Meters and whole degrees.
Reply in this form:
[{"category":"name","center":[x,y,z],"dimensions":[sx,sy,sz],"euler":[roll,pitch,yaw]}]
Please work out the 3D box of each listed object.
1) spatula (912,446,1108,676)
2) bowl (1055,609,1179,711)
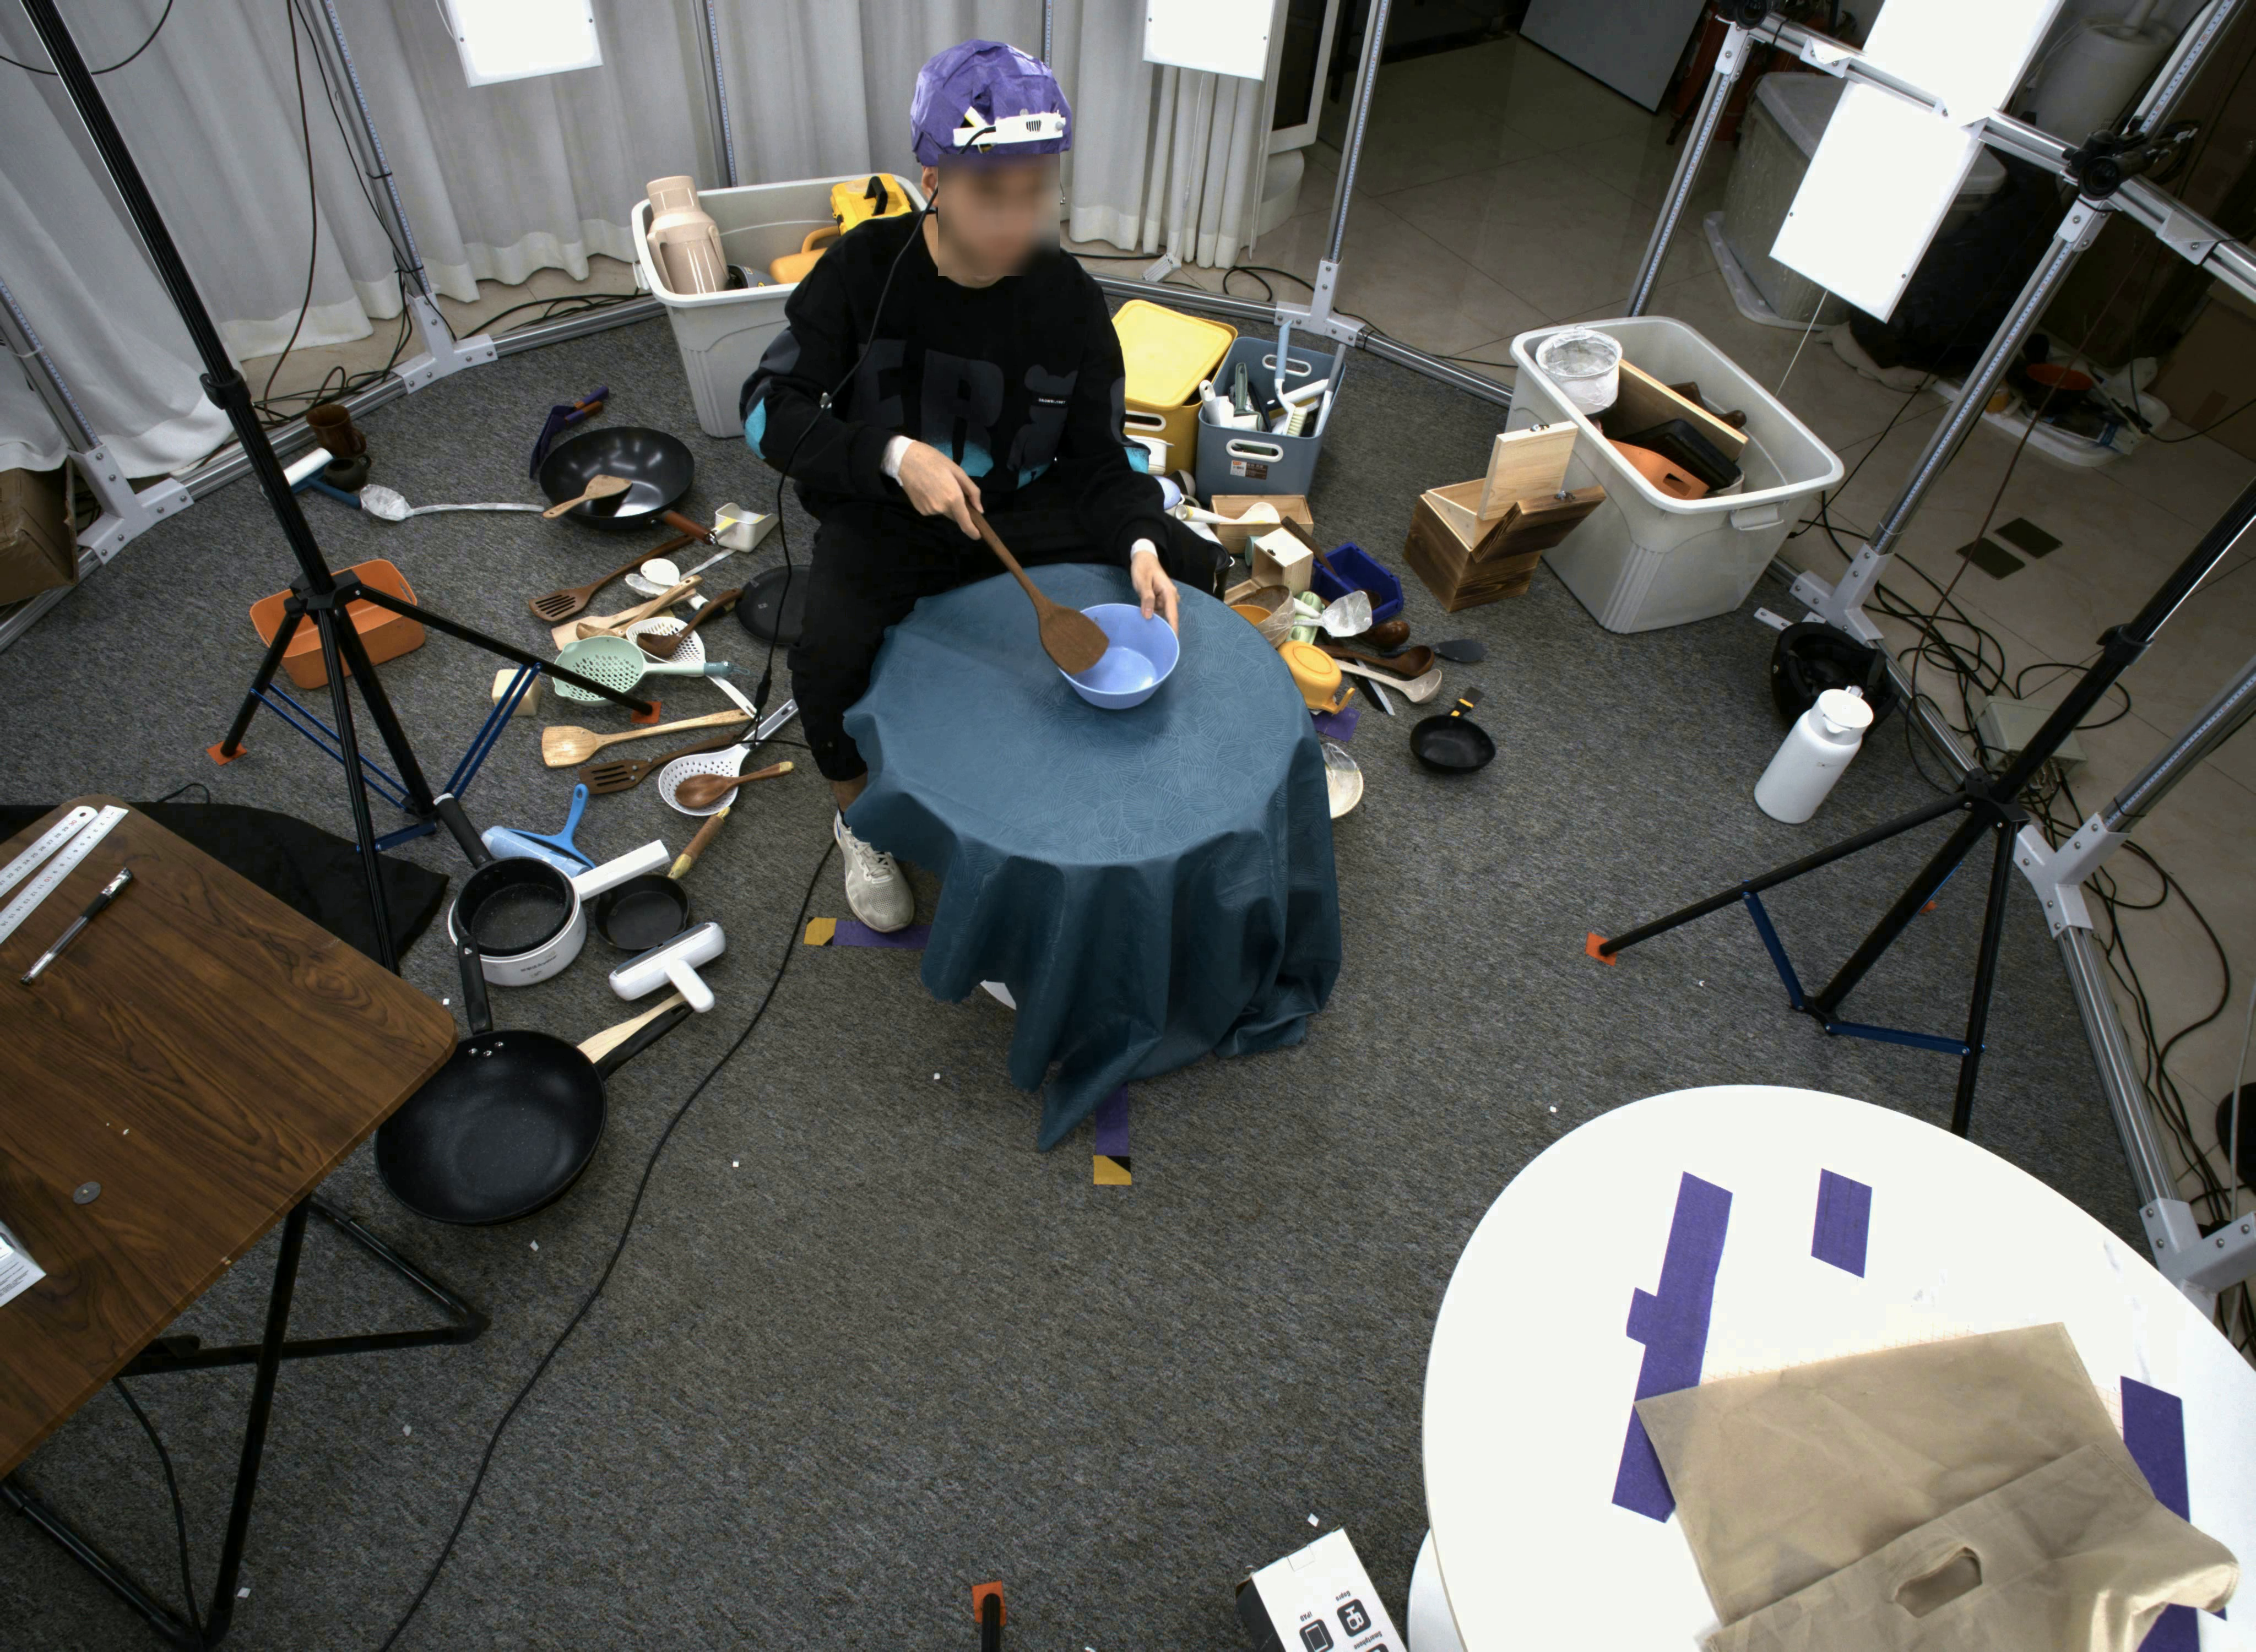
[{"category":"spatula","center":[-0.170,-0.373,1.793],"dimensions":[0.384,0.015,0.097],"euler":[51,57,-5]},{"category":"bowl","center":[-0.016,-0.228,1.833],"dimensions":[0.176,0.068,0.180],"euler":[1,50,-1]}]
